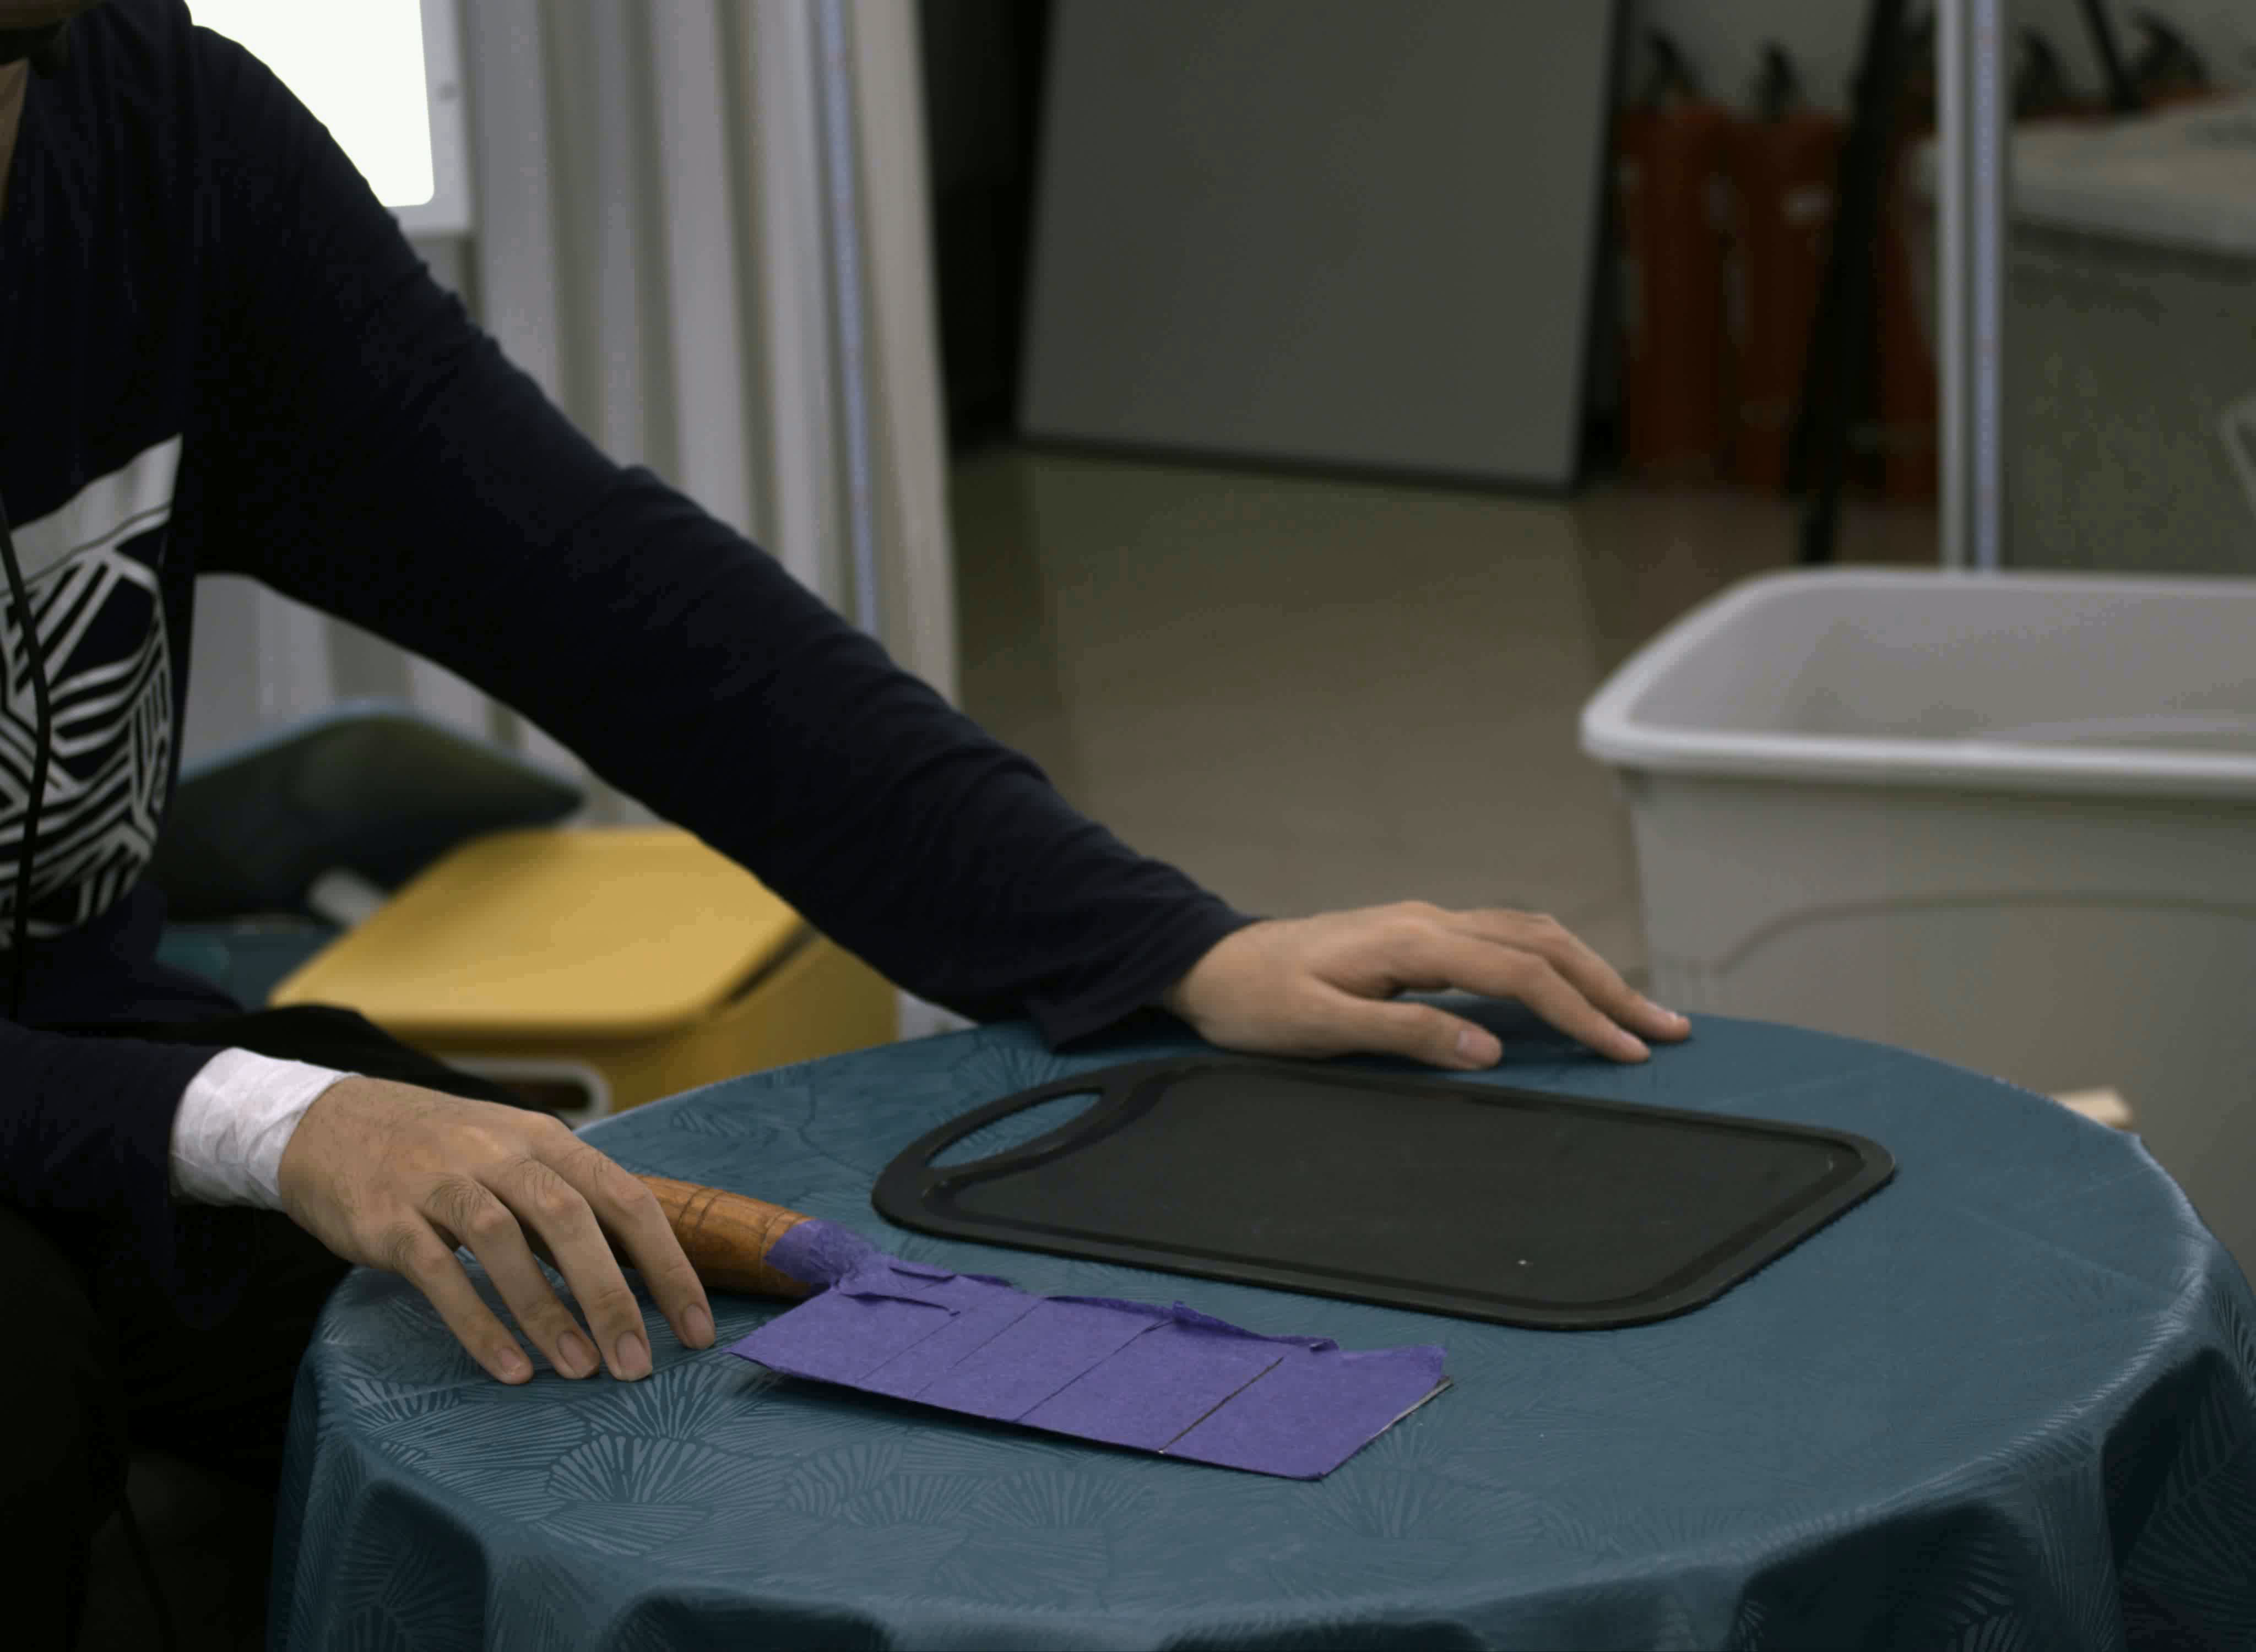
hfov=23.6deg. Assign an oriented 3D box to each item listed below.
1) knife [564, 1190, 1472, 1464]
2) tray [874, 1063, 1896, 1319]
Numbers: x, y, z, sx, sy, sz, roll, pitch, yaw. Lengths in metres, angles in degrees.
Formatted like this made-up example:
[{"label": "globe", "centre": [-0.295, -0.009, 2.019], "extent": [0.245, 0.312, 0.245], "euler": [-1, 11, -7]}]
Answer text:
[{"label": "knife", "centre": [-0.055, 0.149, 1.619], "extent": [0.317, 0.032, 0.102], "euler": [5, 16, 32]}, {"label": "tray", "centre": [0.075, 0.115, 1.764], "extent": [0.327, 0.010, 0.207], "euler": [5, 16, 35]}]
